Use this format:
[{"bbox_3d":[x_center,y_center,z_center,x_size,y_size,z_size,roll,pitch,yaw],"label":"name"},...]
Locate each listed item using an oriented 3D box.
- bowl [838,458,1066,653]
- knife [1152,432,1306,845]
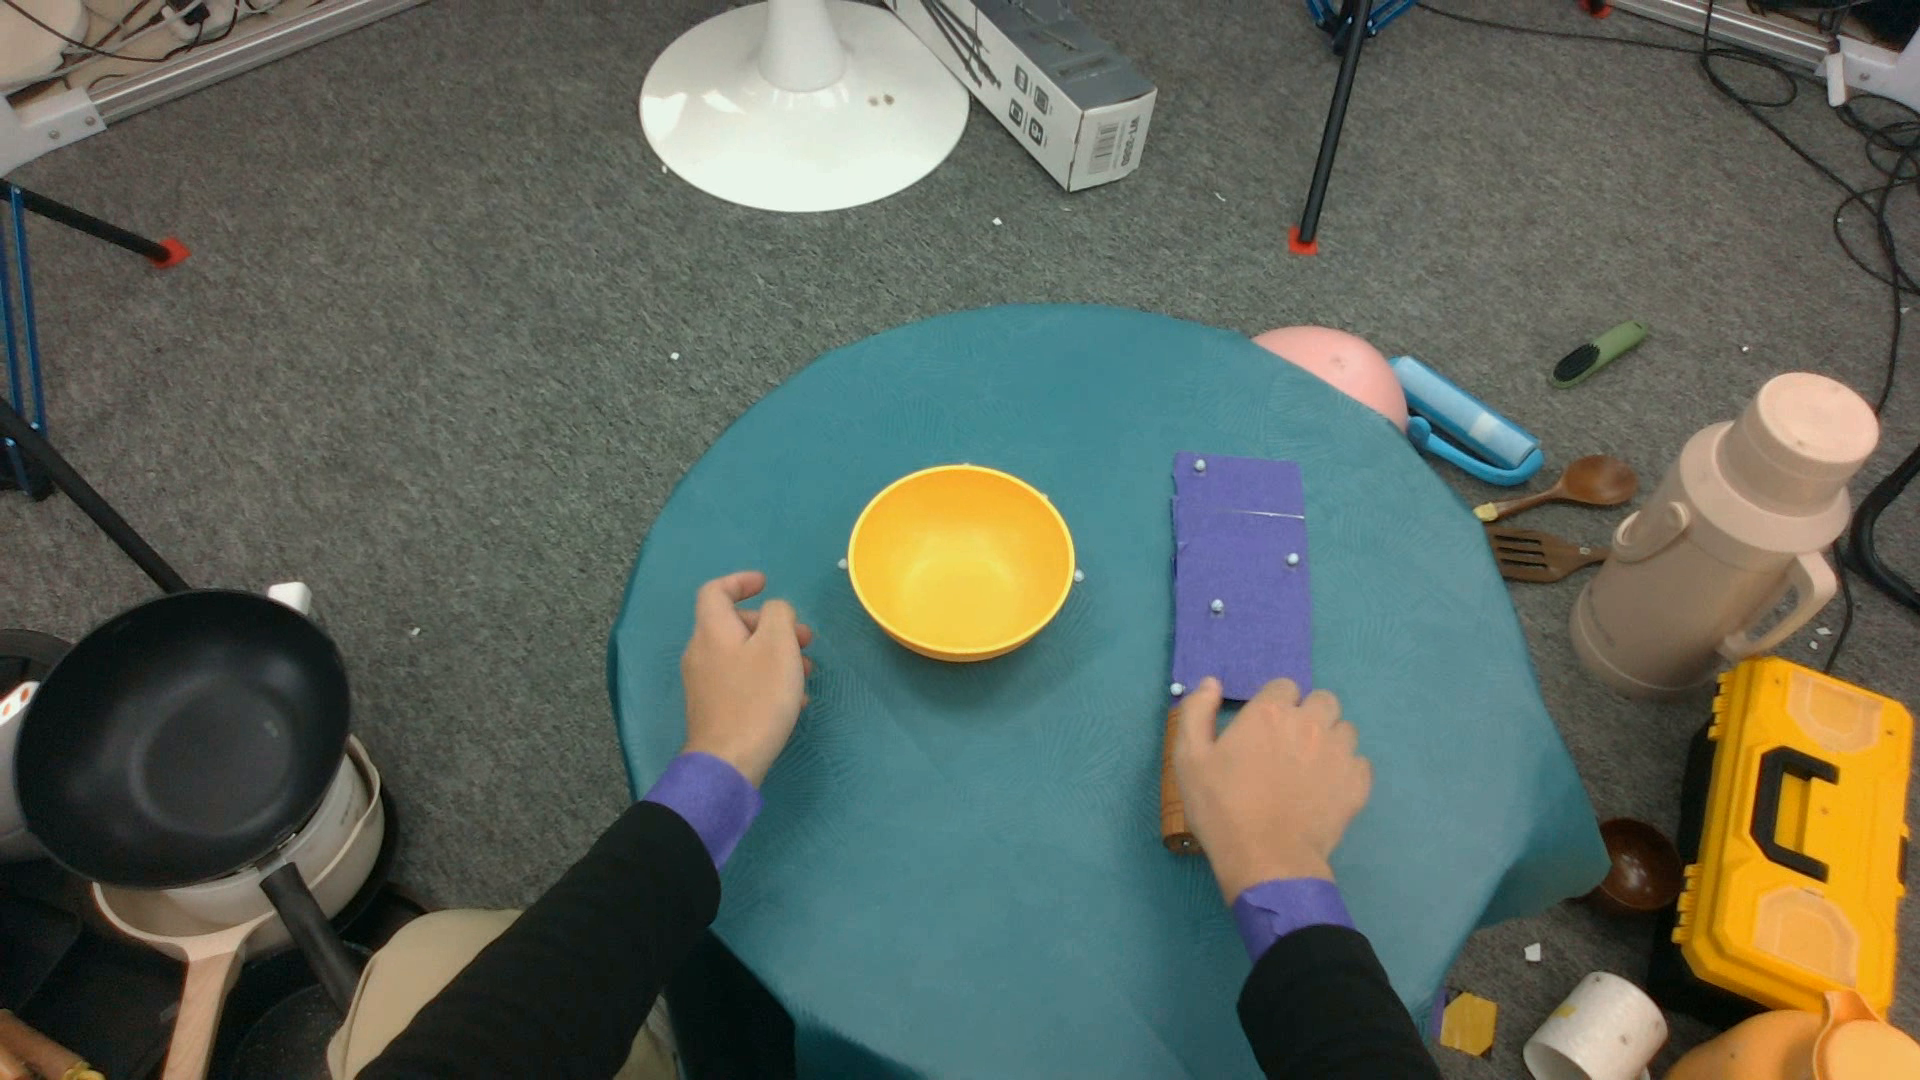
[{"bbox_3d":[-0.005,0.020,0.894,0.145,0.060,0.146,0,54,0],"label":"bowl"},{"bbox_3d":[0.177,0.050,0.902,0.104,0.032,0.317,5,54,2],"label":"knife"}]
